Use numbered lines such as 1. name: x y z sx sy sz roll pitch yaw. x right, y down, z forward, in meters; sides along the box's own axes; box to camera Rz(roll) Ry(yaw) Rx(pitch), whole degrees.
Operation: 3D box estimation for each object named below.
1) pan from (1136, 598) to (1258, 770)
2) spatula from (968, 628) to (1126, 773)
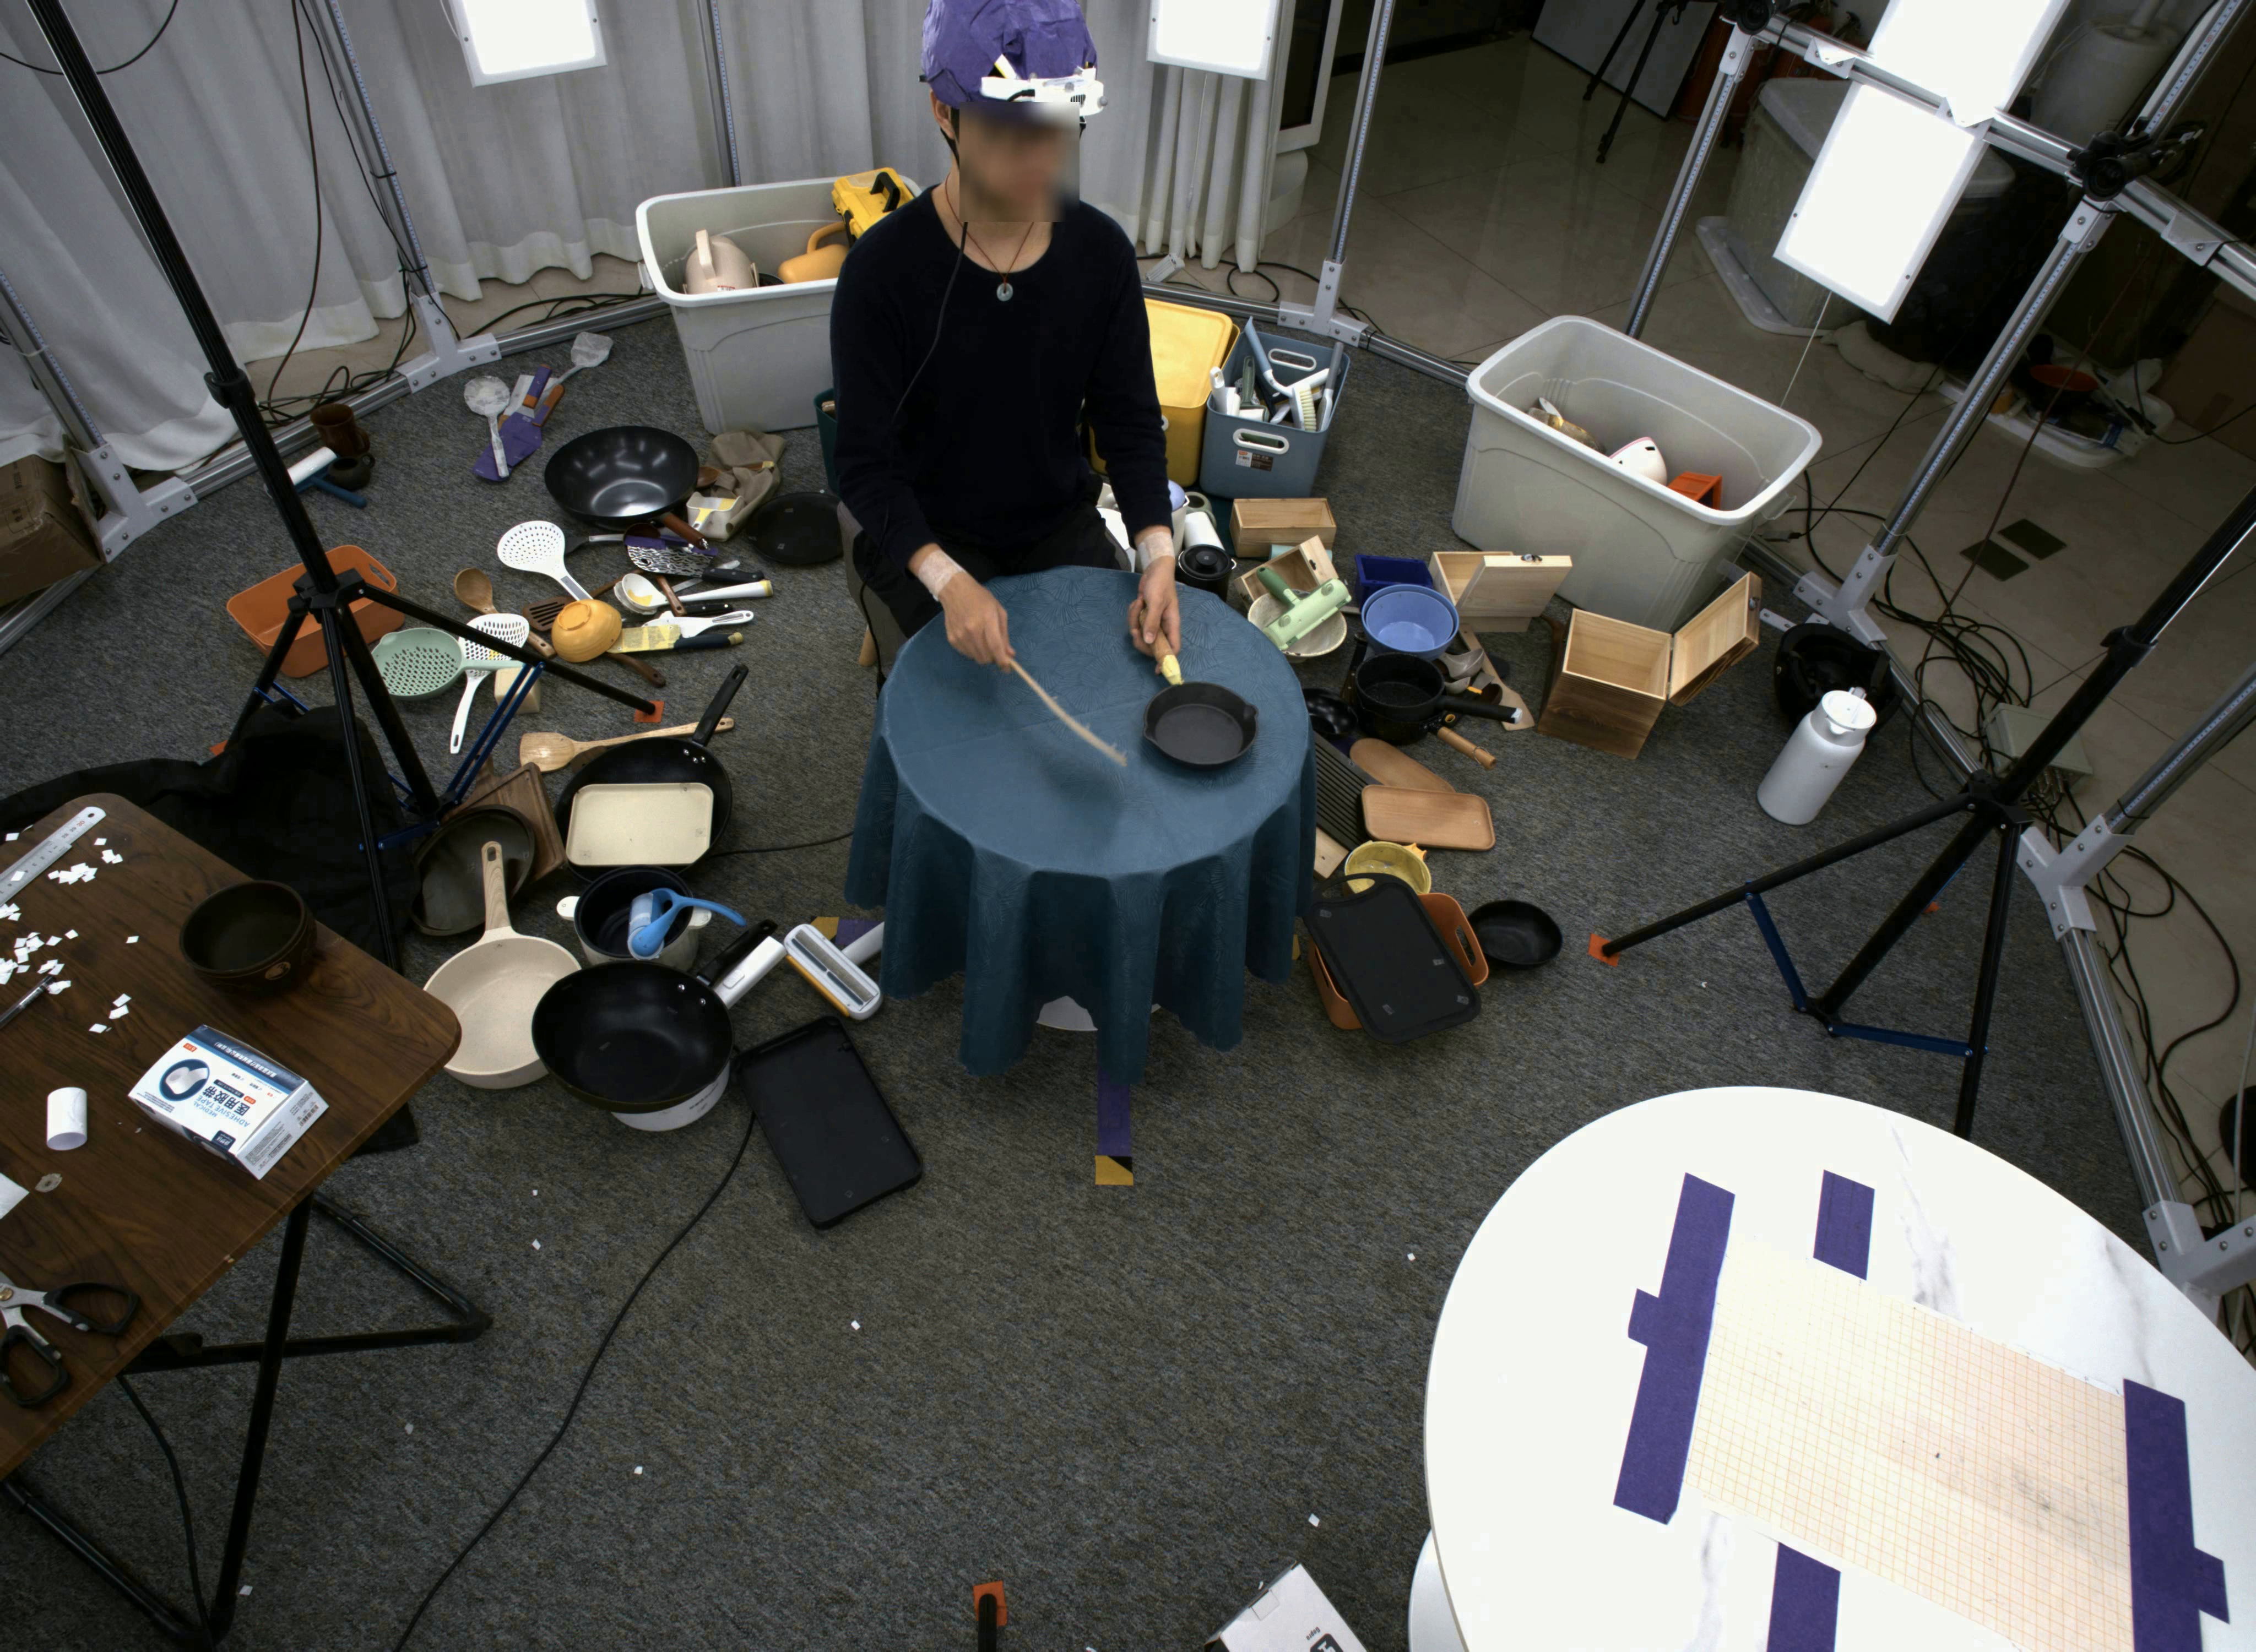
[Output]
1. pan: 0.073 -0.203 1.817 0.169 0.048 0.332 -12 52 -14
2. spatula: -0.114 -0.172 1.725 0.016 0.079 0.333 -48 63 7
